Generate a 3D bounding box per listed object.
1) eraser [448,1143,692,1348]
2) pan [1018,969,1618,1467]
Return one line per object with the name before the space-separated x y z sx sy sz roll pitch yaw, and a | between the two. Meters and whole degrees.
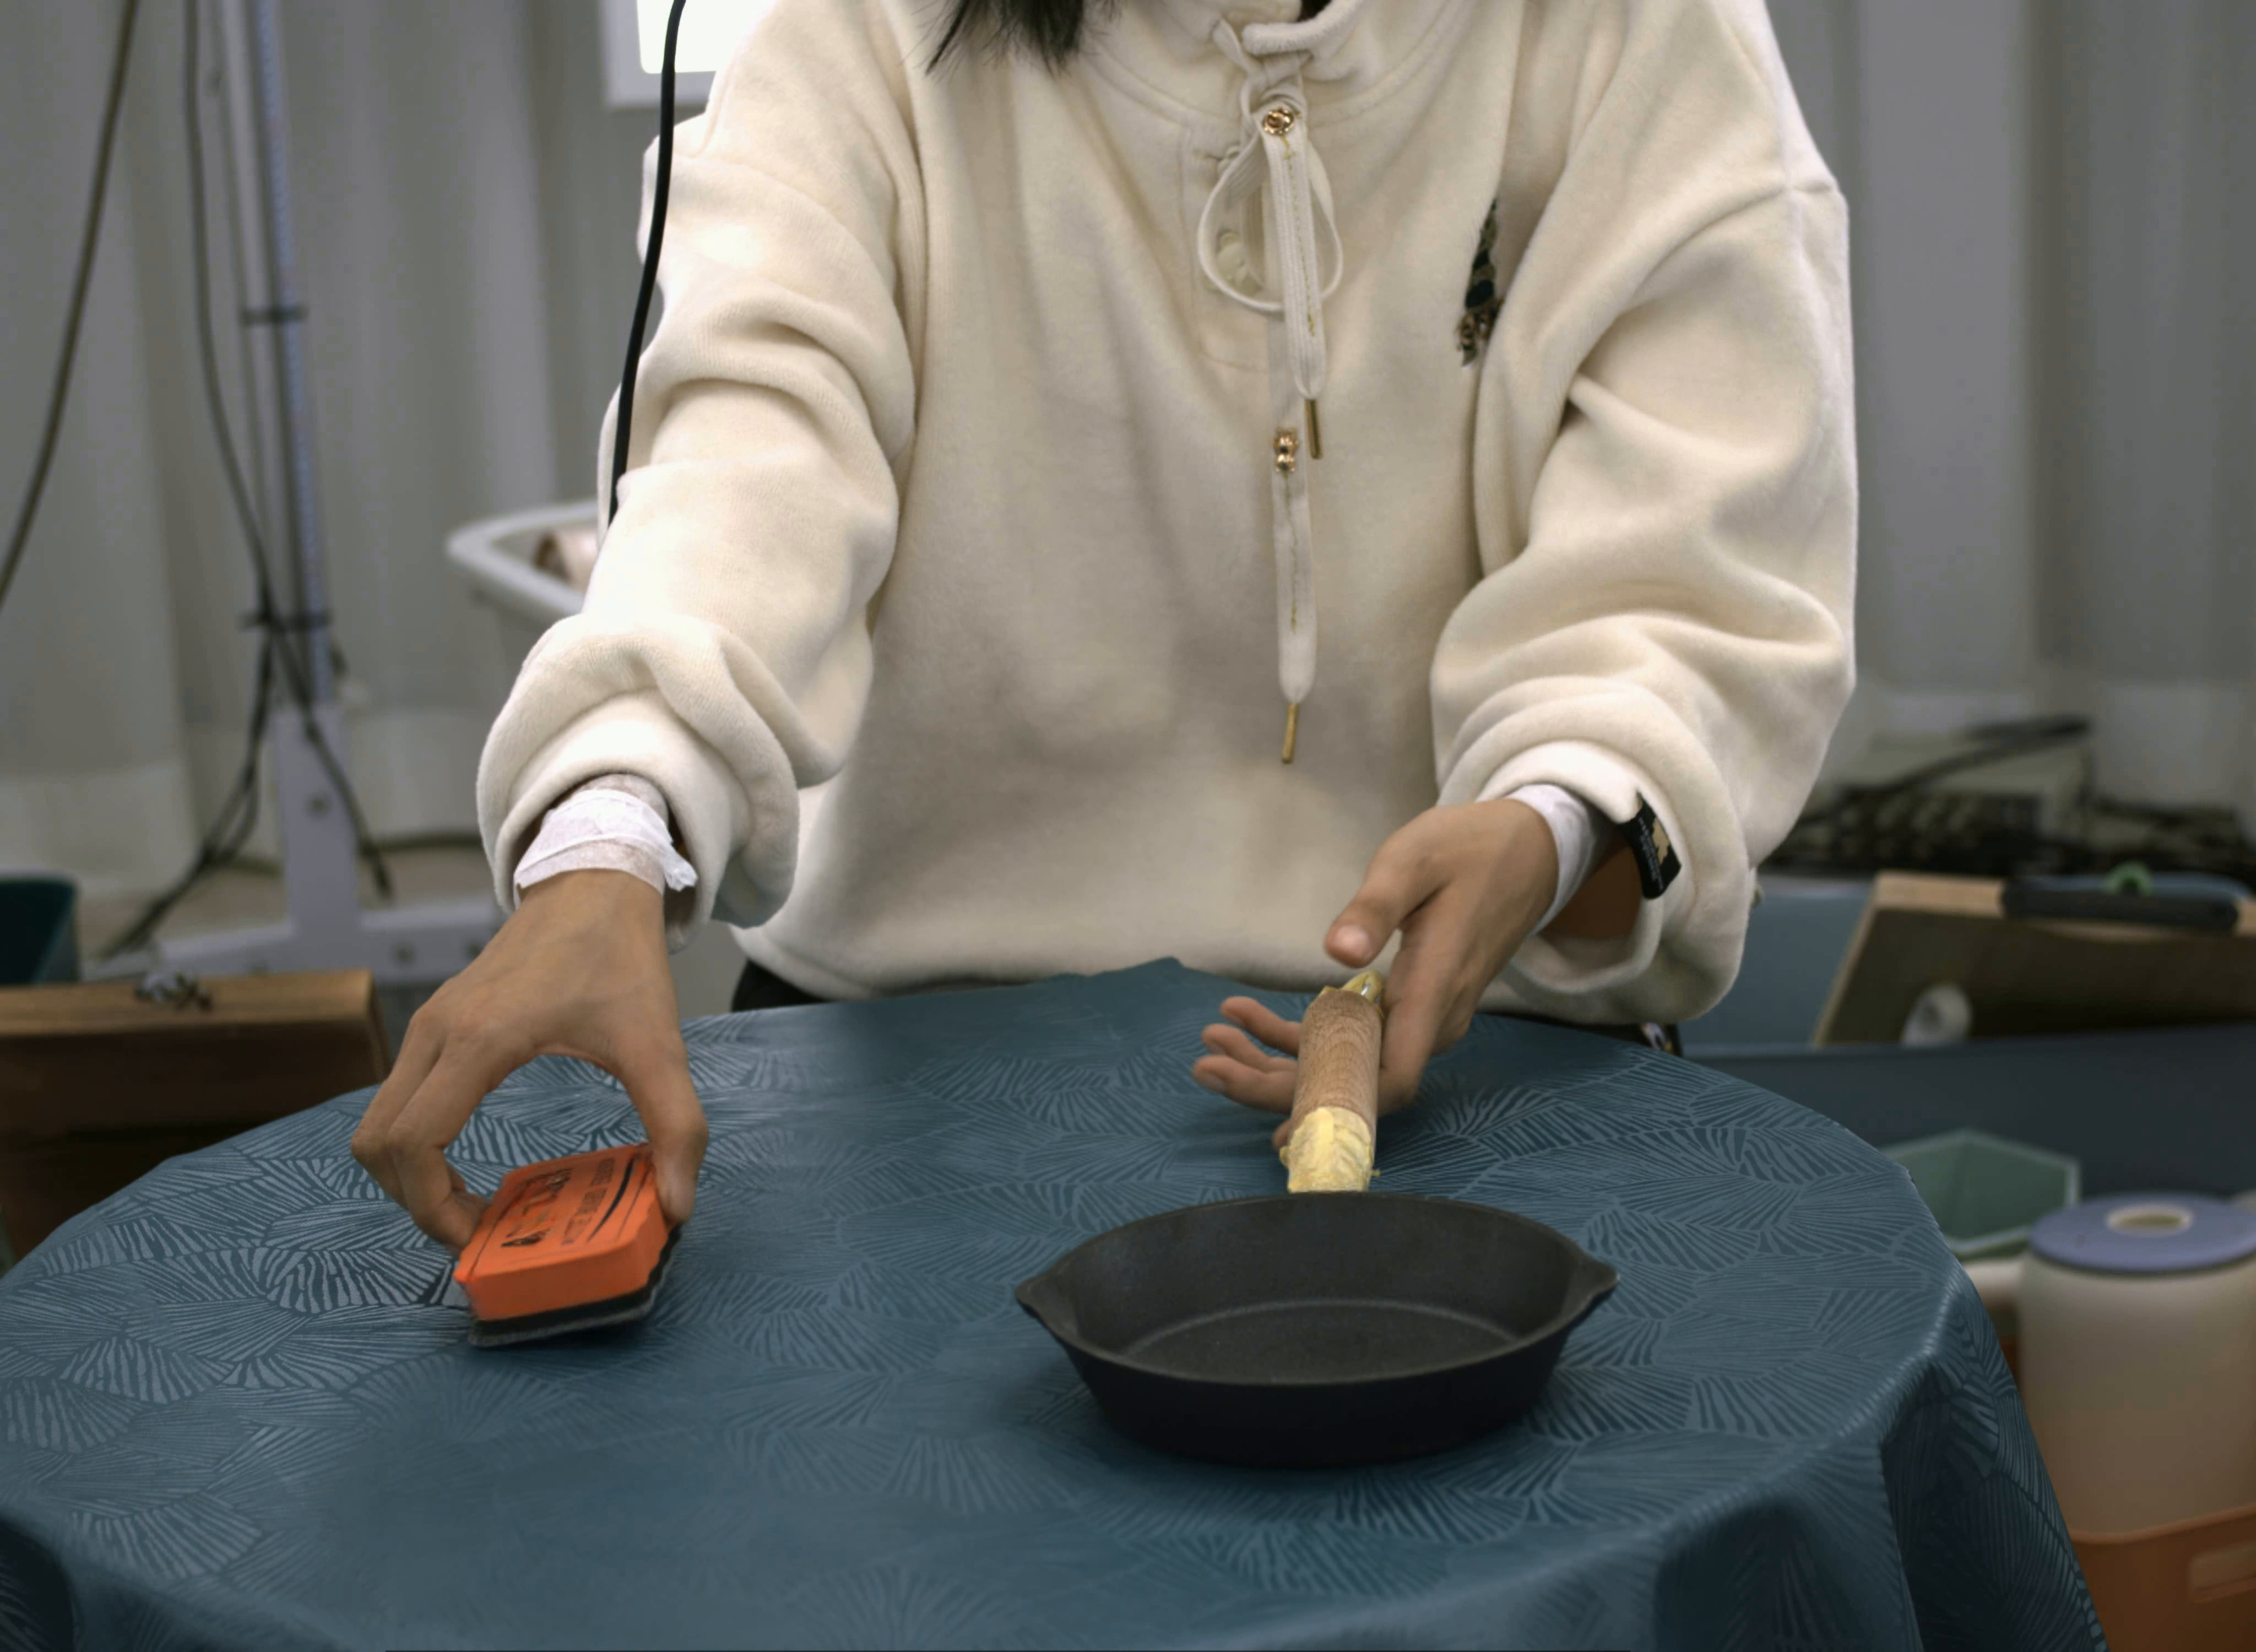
eraser | -0.167 0.126 1.647 0.059 0.023 0.109 -9 14 6
pan | 0.061 0.112 1.613 0.168 0.049 0.326 -2 16 6
